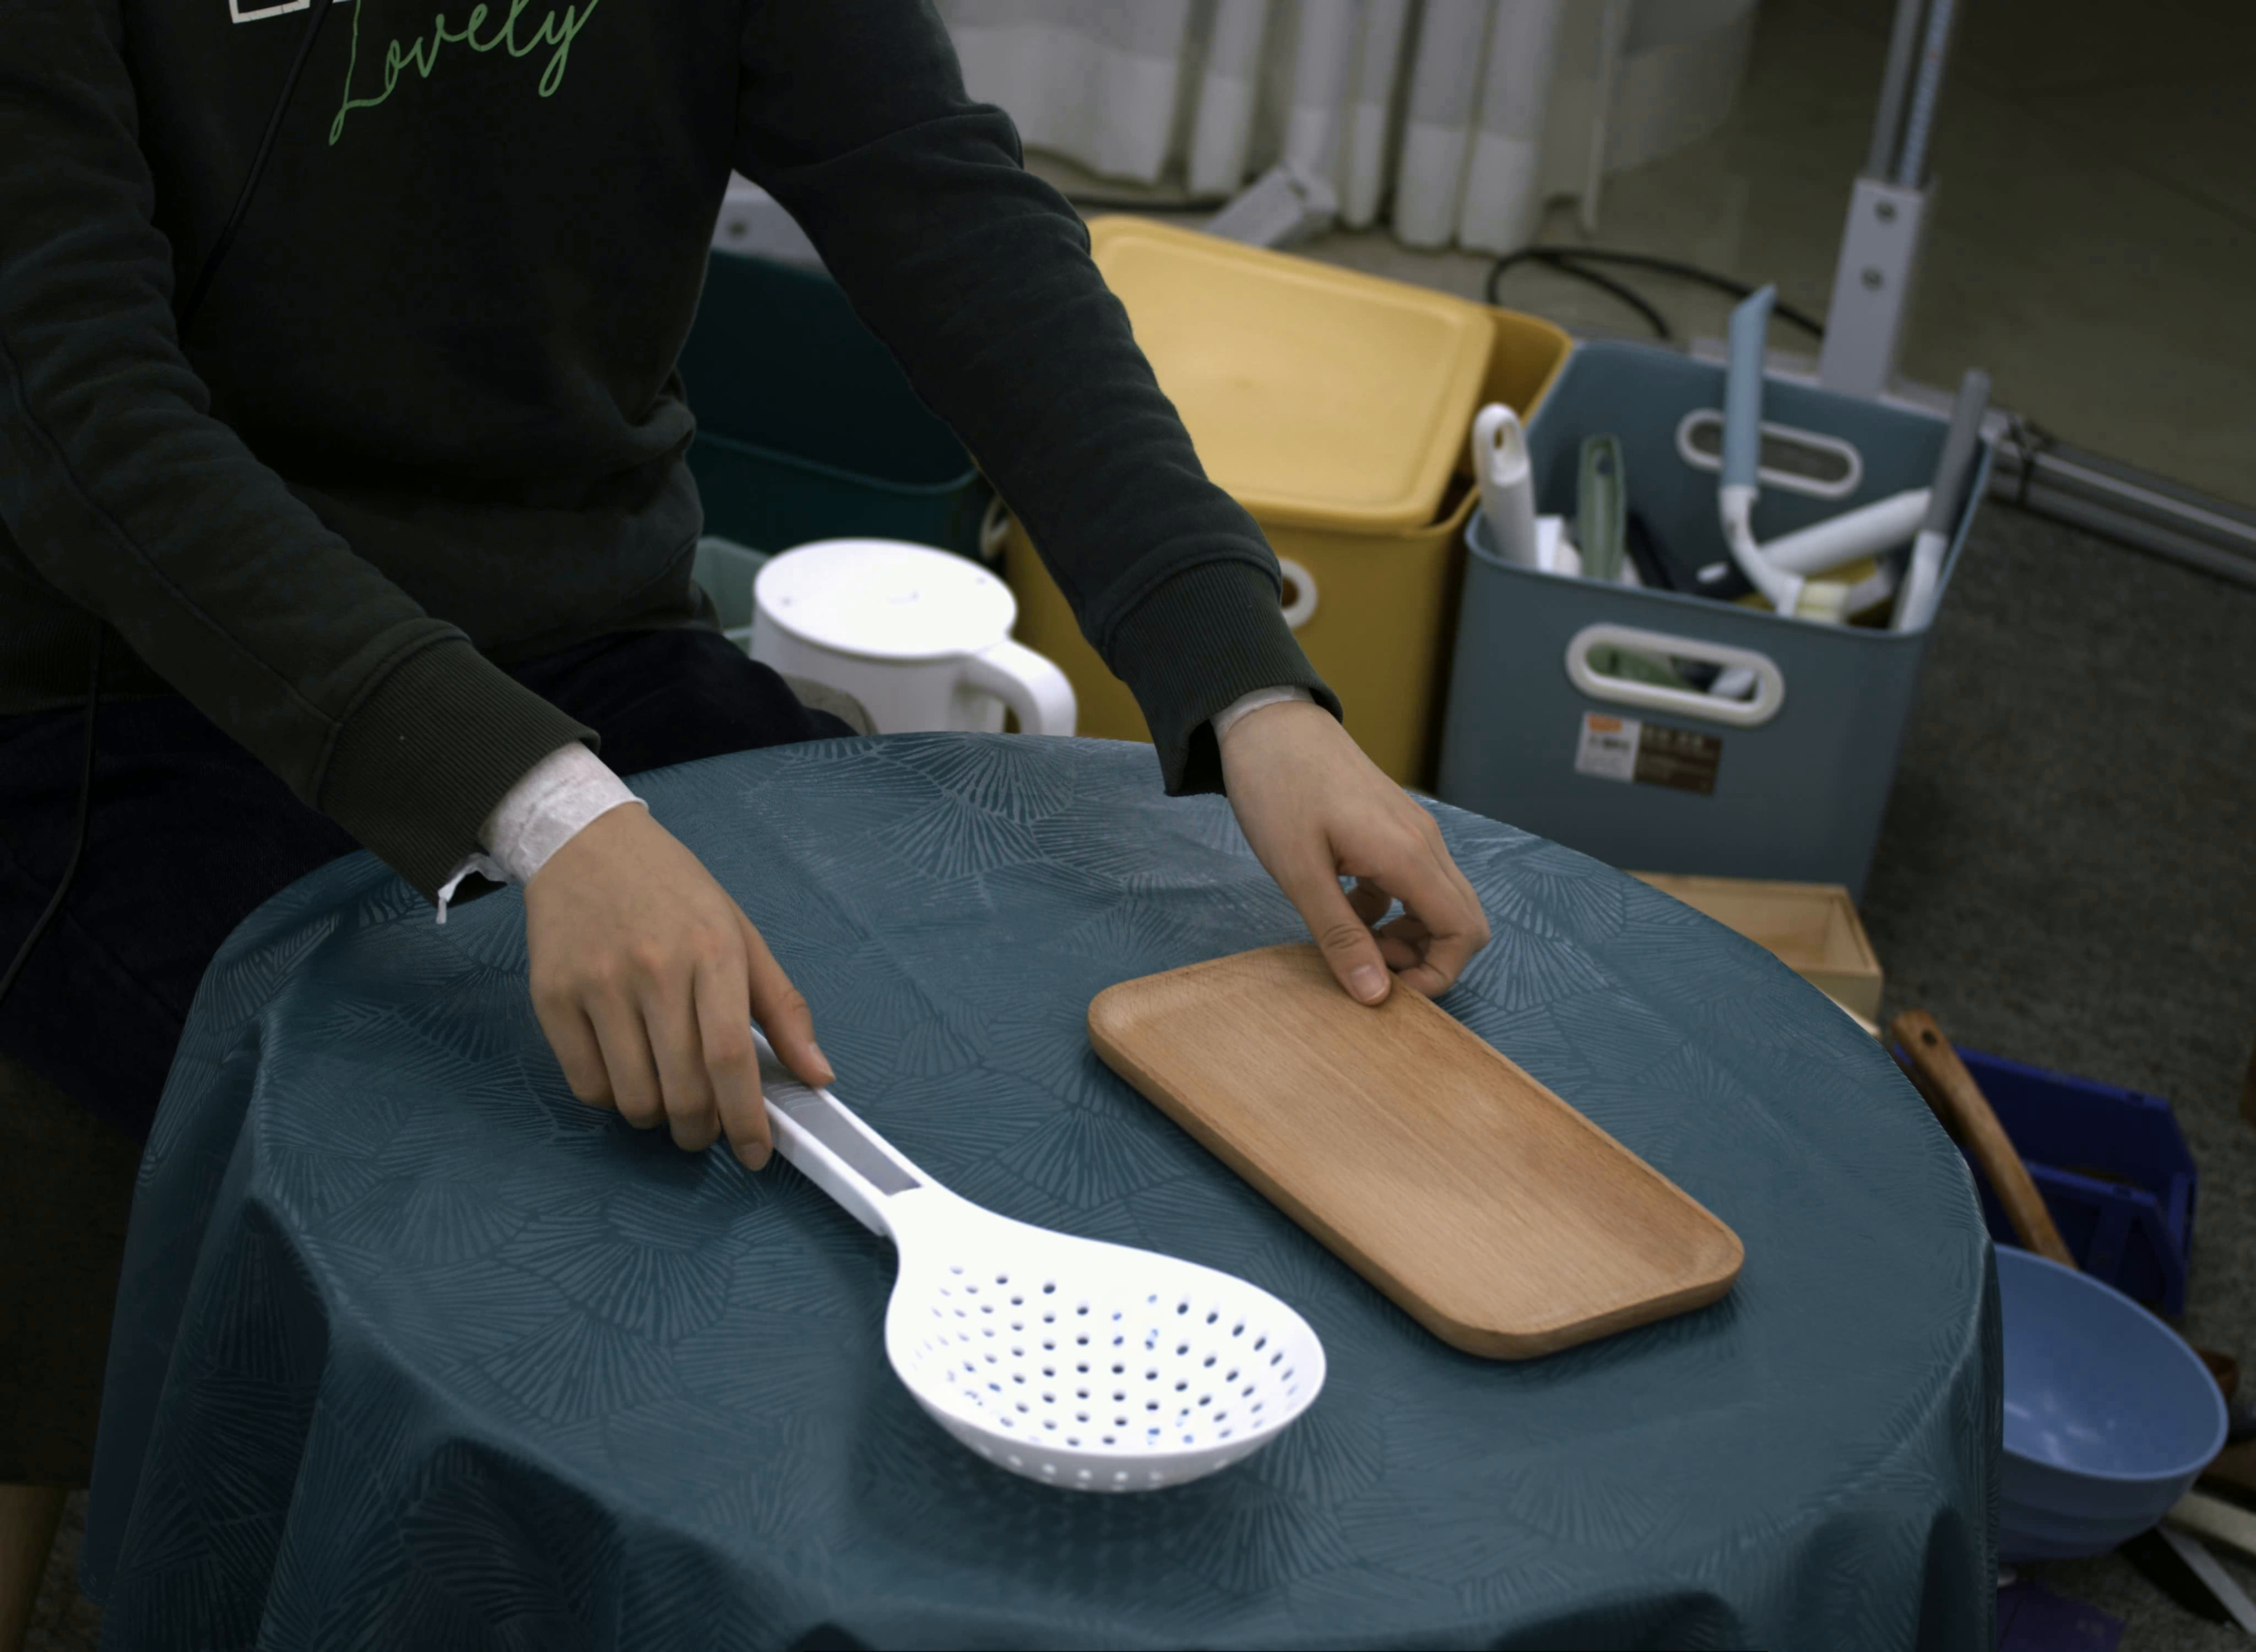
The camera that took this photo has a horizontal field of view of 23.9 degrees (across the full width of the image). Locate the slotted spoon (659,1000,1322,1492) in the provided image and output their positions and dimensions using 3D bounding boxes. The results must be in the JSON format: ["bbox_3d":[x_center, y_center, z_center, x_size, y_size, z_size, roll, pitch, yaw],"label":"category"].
[{"bbox_3d":[-0.064,0.129,1.724,0.135,0.045,0.353,-8,29,-31],"label":"slotted spoon"}]

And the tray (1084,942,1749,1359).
[{"bbox_3d":[0.096,0.109,1.833,0.130,0.023,0.253,-10,30,-33],"label":"tray"}]
